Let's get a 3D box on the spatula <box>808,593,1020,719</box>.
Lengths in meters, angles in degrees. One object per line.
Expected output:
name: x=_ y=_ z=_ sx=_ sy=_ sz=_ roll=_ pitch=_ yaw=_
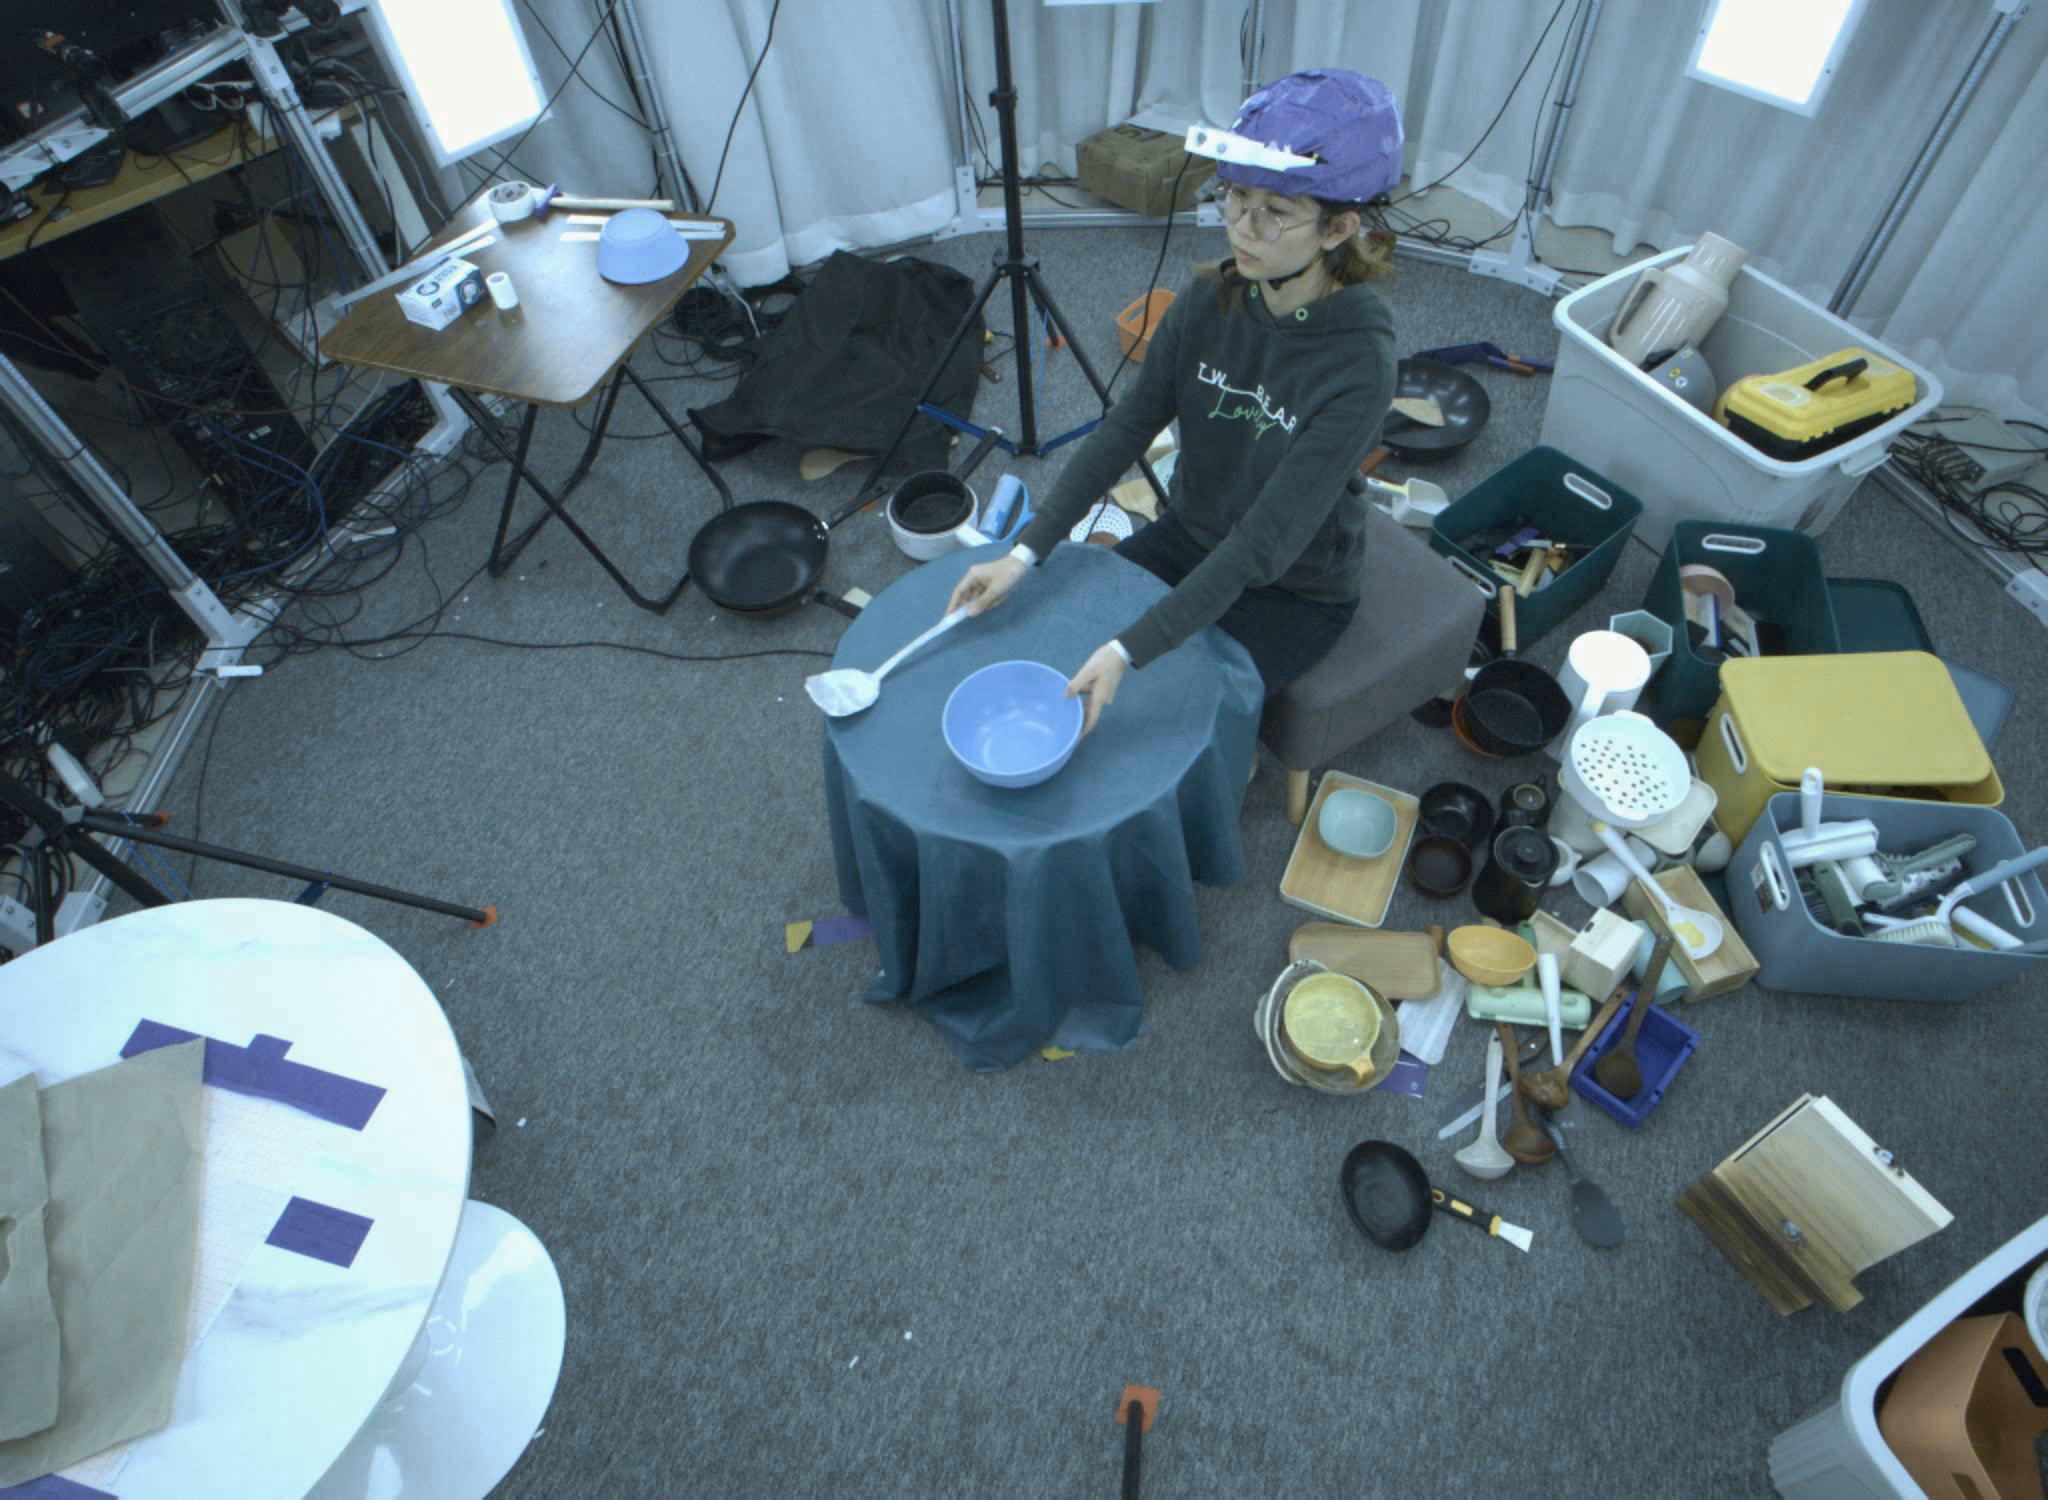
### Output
spatula: x=-0.162 y=-0.158 z=1.876 sx=0.367 sy=0.045 sz=0.097 roll=-35 pitch=57 yaw=-13

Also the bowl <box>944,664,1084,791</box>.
bowl: x=-0.009 y=-0.017 z=1.749 sx=0.196 sy=0.096 sz=0.194 roll=-2 pitch=57 yaw=5
